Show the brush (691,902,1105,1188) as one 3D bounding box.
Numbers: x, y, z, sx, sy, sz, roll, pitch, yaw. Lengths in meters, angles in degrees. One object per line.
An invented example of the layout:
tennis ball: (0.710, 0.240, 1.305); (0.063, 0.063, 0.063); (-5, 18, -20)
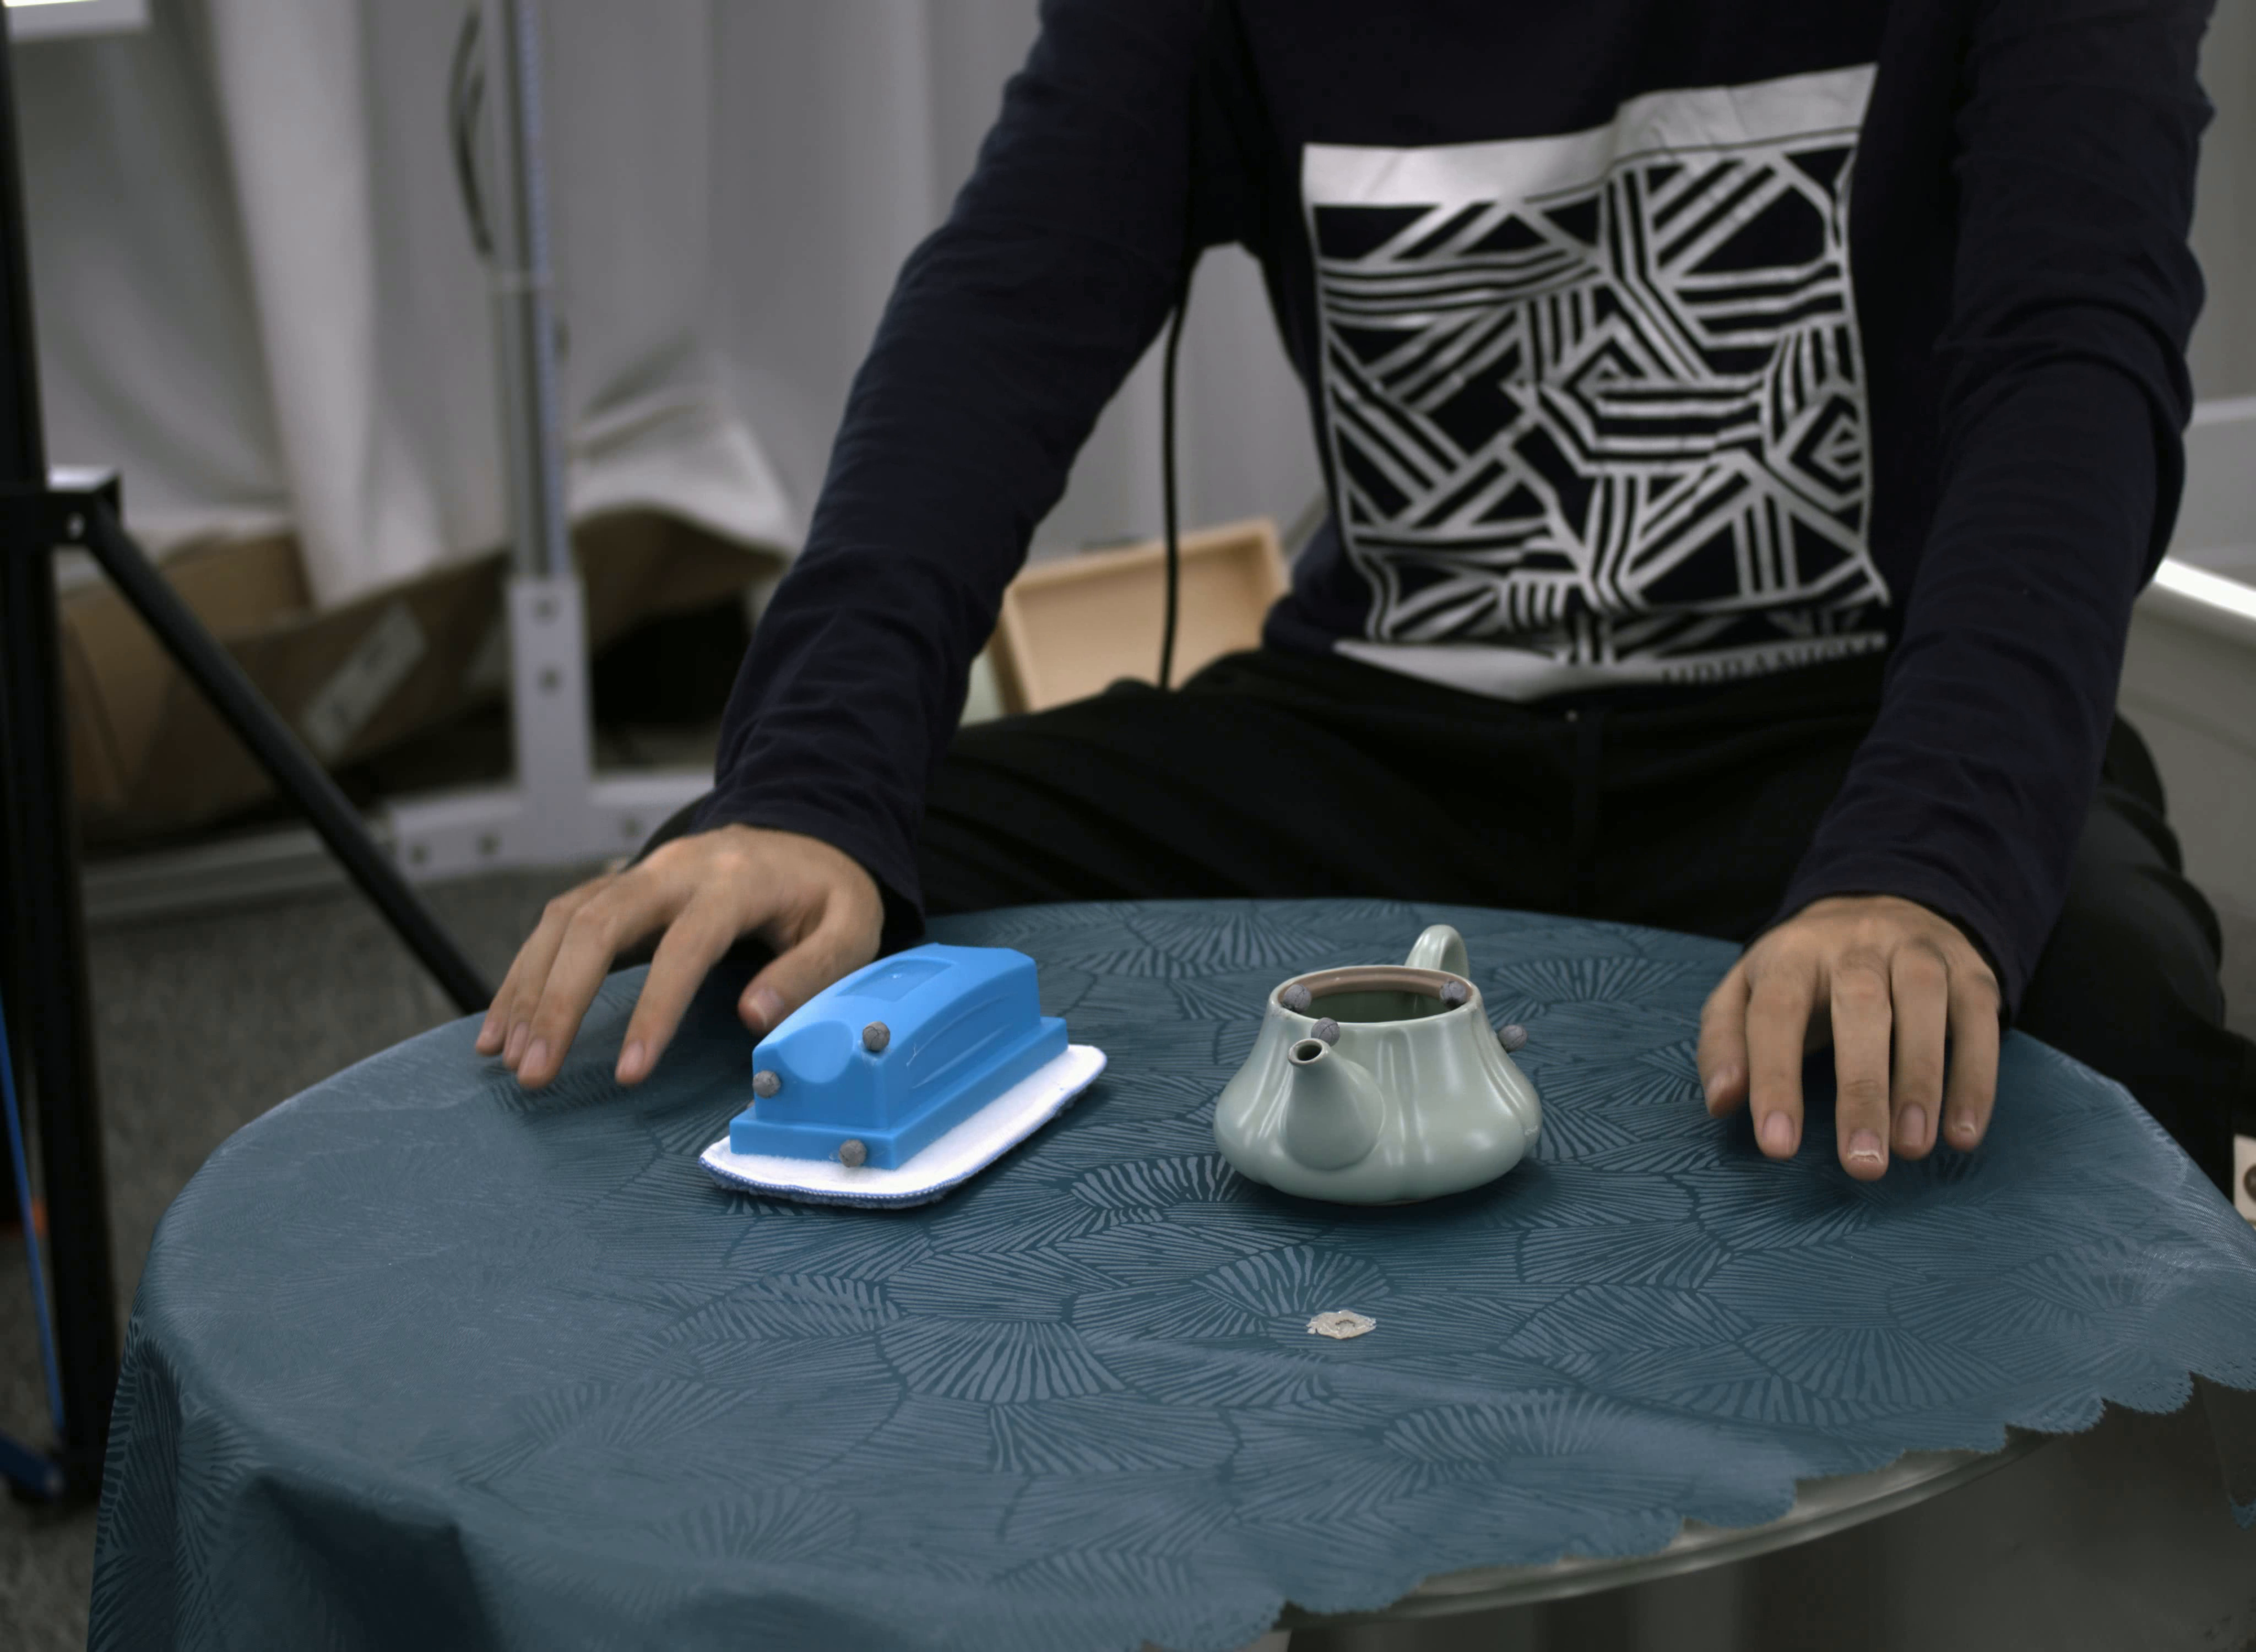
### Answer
brush: (-0.068, 0.063, 1.618); (0.085, 0.056, 0.142); (8, 21, 26)

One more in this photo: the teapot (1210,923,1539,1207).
teapot: (0.074, 0.074, 1.561); (0.097, 0.061, 0.135); (2, 17, 21)
